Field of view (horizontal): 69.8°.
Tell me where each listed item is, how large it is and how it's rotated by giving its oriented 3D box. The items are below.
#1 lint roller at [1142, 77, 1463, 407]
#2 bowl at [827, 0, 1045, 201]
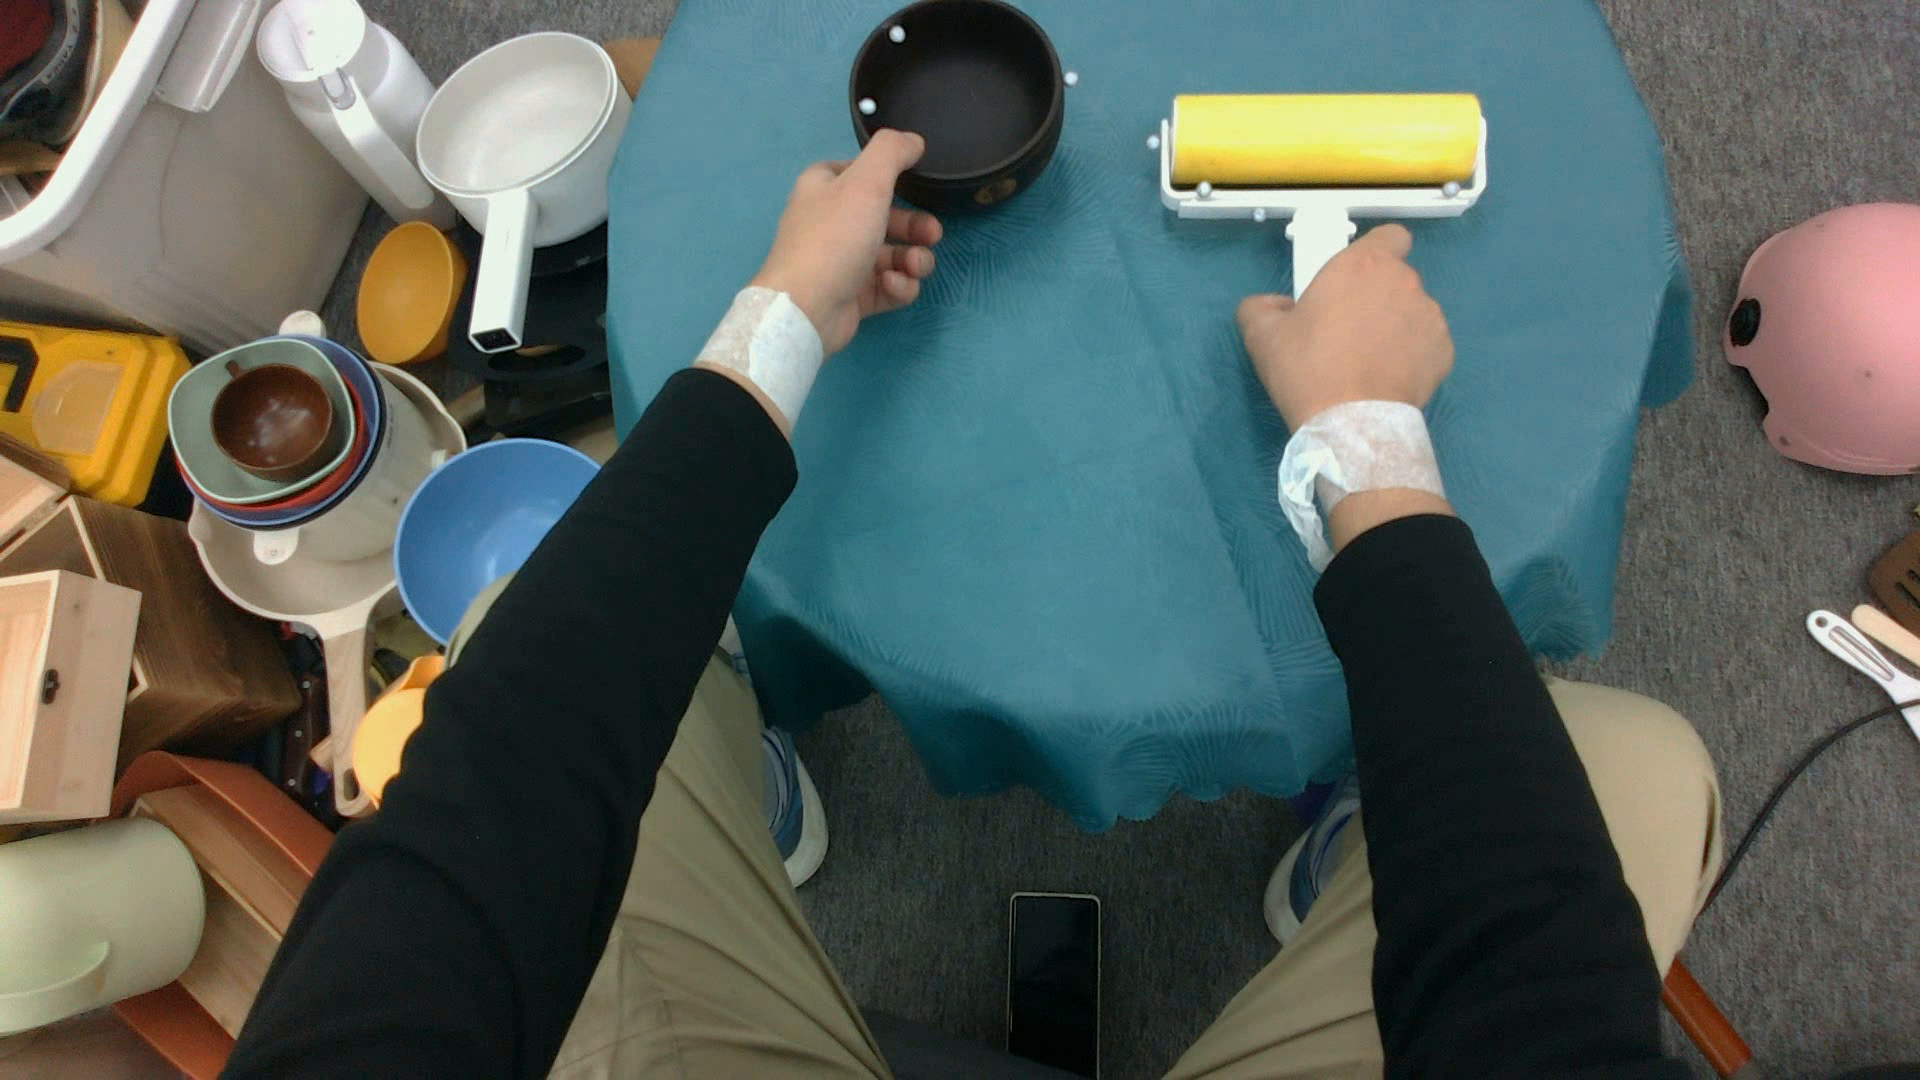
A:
[{"bbox_3d":[0.187,-0.165,0.736,0.174,0.051,0.193,-1,63,4],"label":"lint roller"},{"bbox_3d":[-0.011,-0.241,0.767,0.118,0.069,0.118,-1,73,4],"label":"bowl"}]
